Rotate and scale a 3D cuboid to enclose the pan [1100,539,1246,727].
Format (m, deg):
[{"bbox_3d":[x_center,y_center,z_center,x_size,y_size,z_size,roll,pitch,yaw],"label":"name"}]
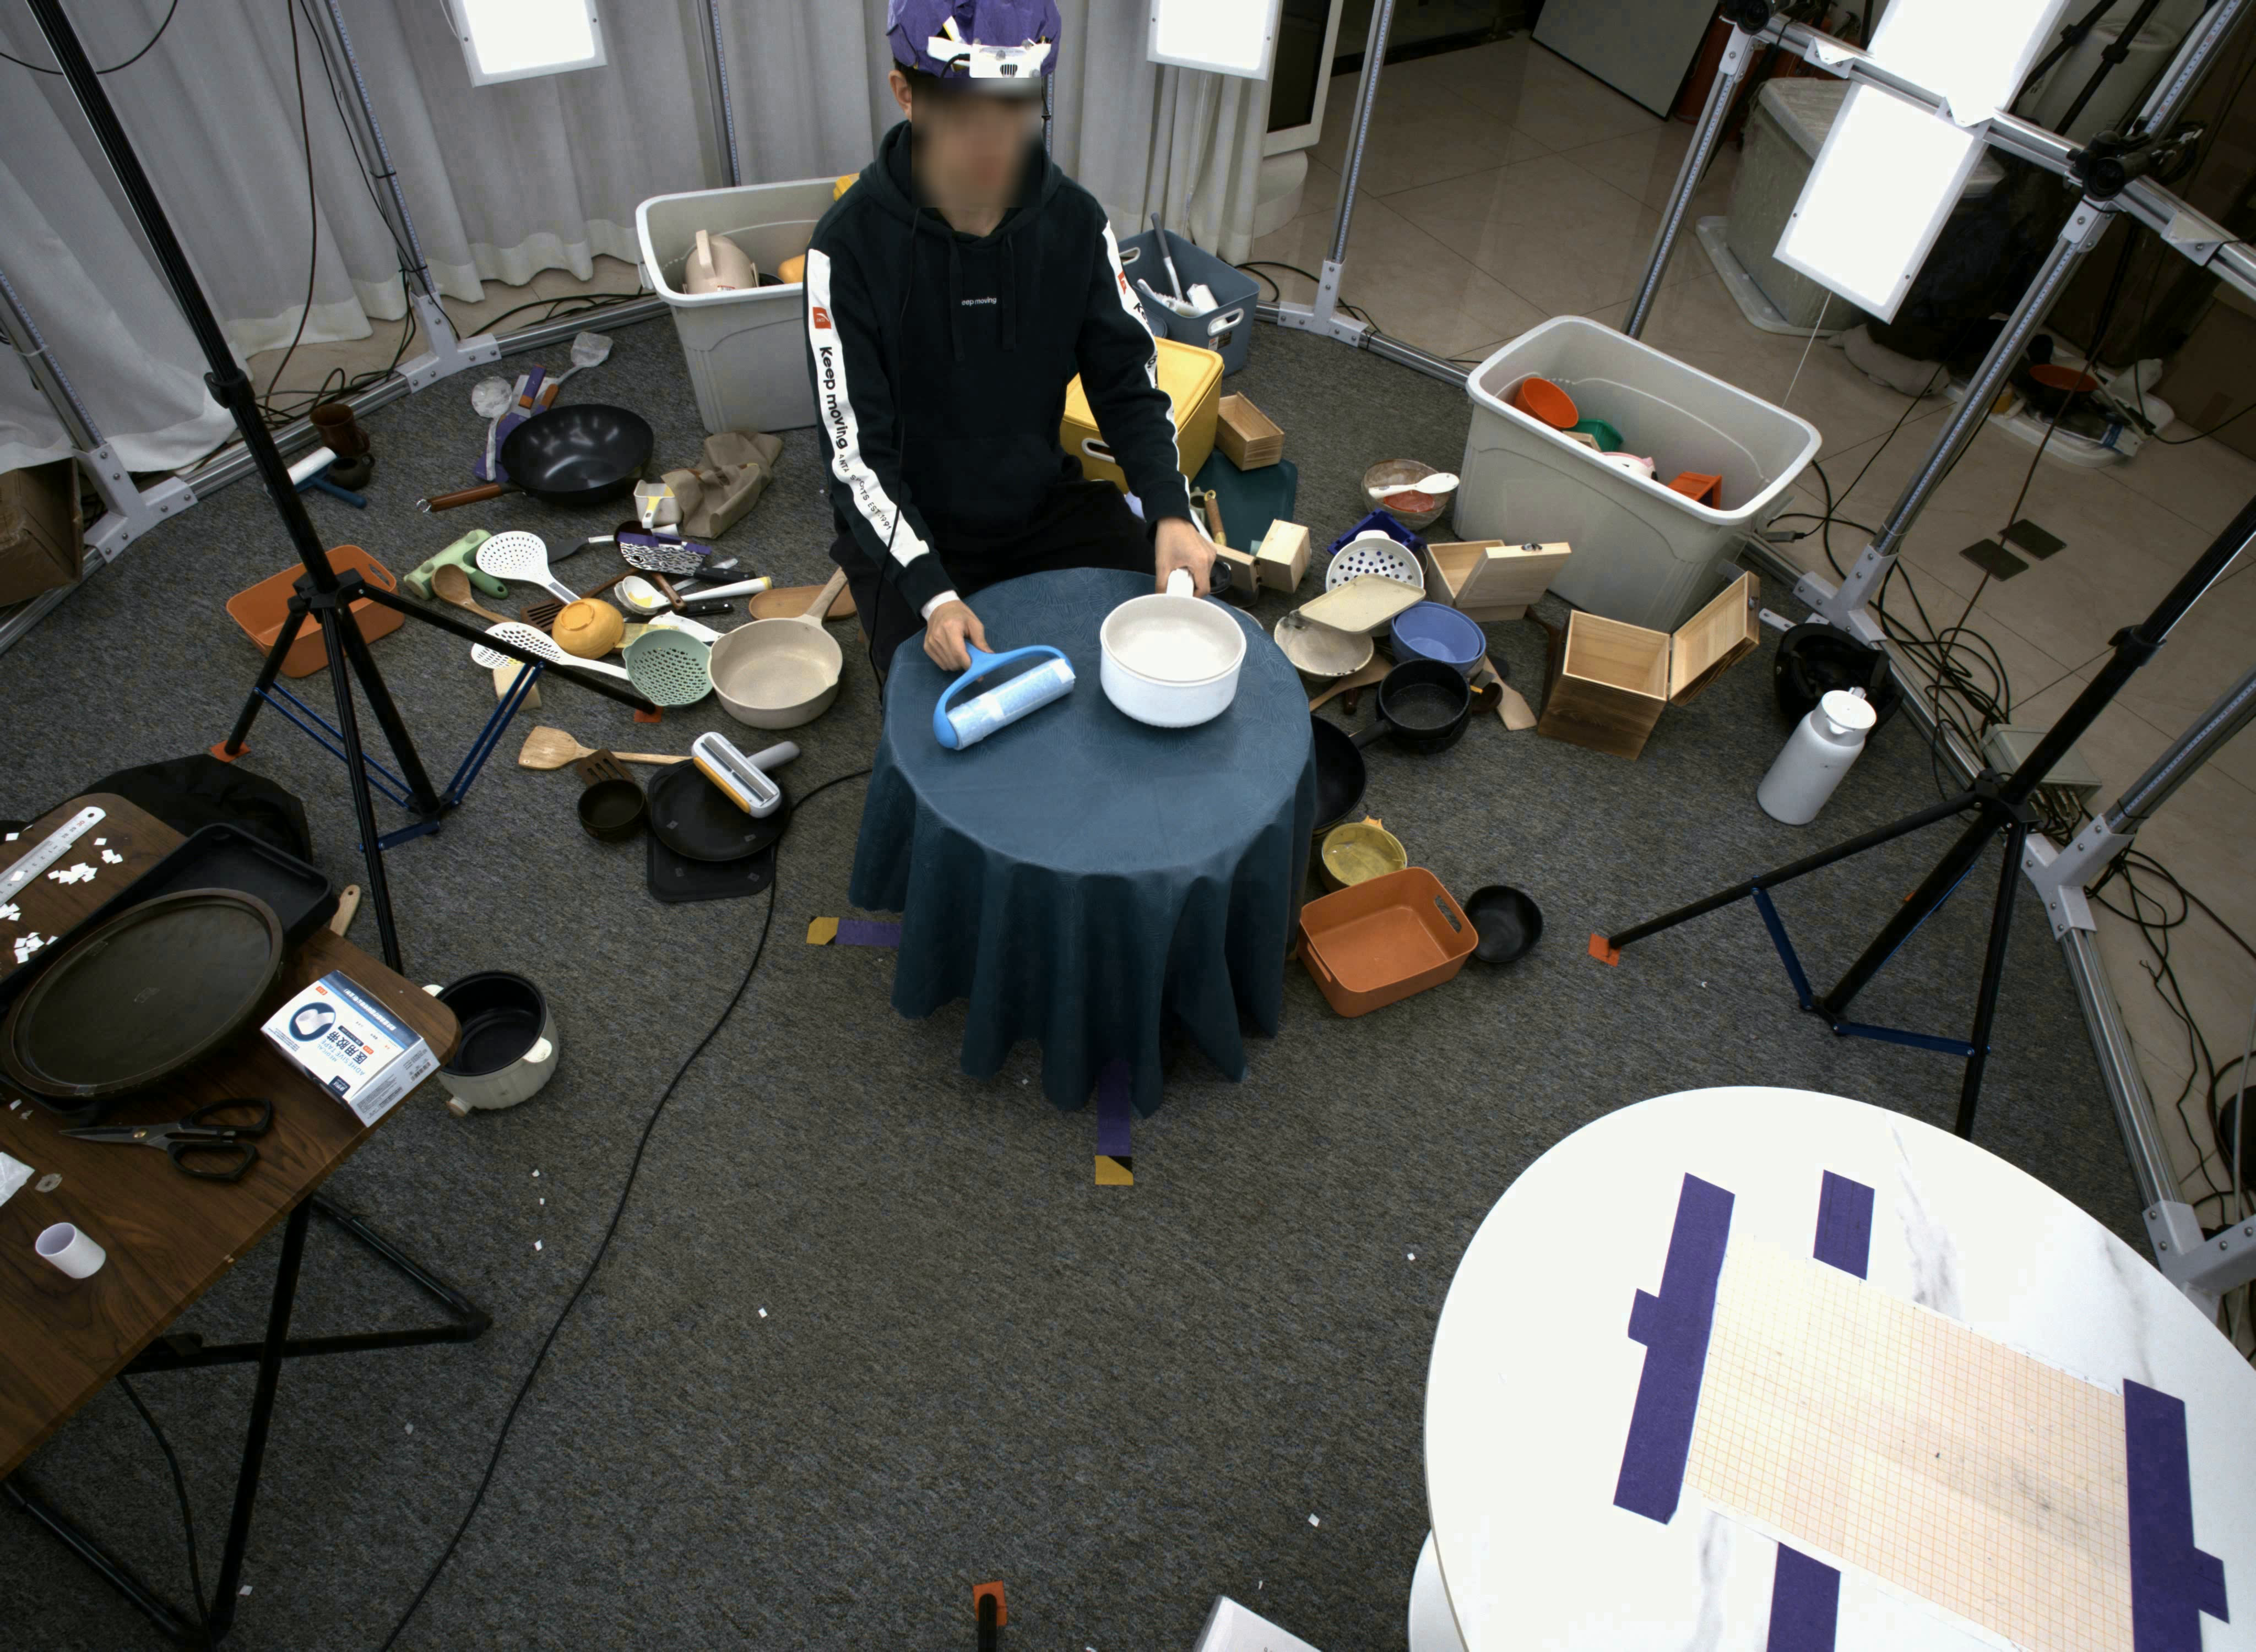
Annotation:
[{"bbox_3d":[0.068,-0.280,1.855,0.201,0.099,0.363,6,43,3],"label":"pan"}]

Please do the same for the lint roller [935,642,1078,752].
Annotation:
[{"bbox_3d":[-0.202,-0.209,1.790,0.231,0.066,0.183,-34,67,-26],"label":"lint roller"}]
